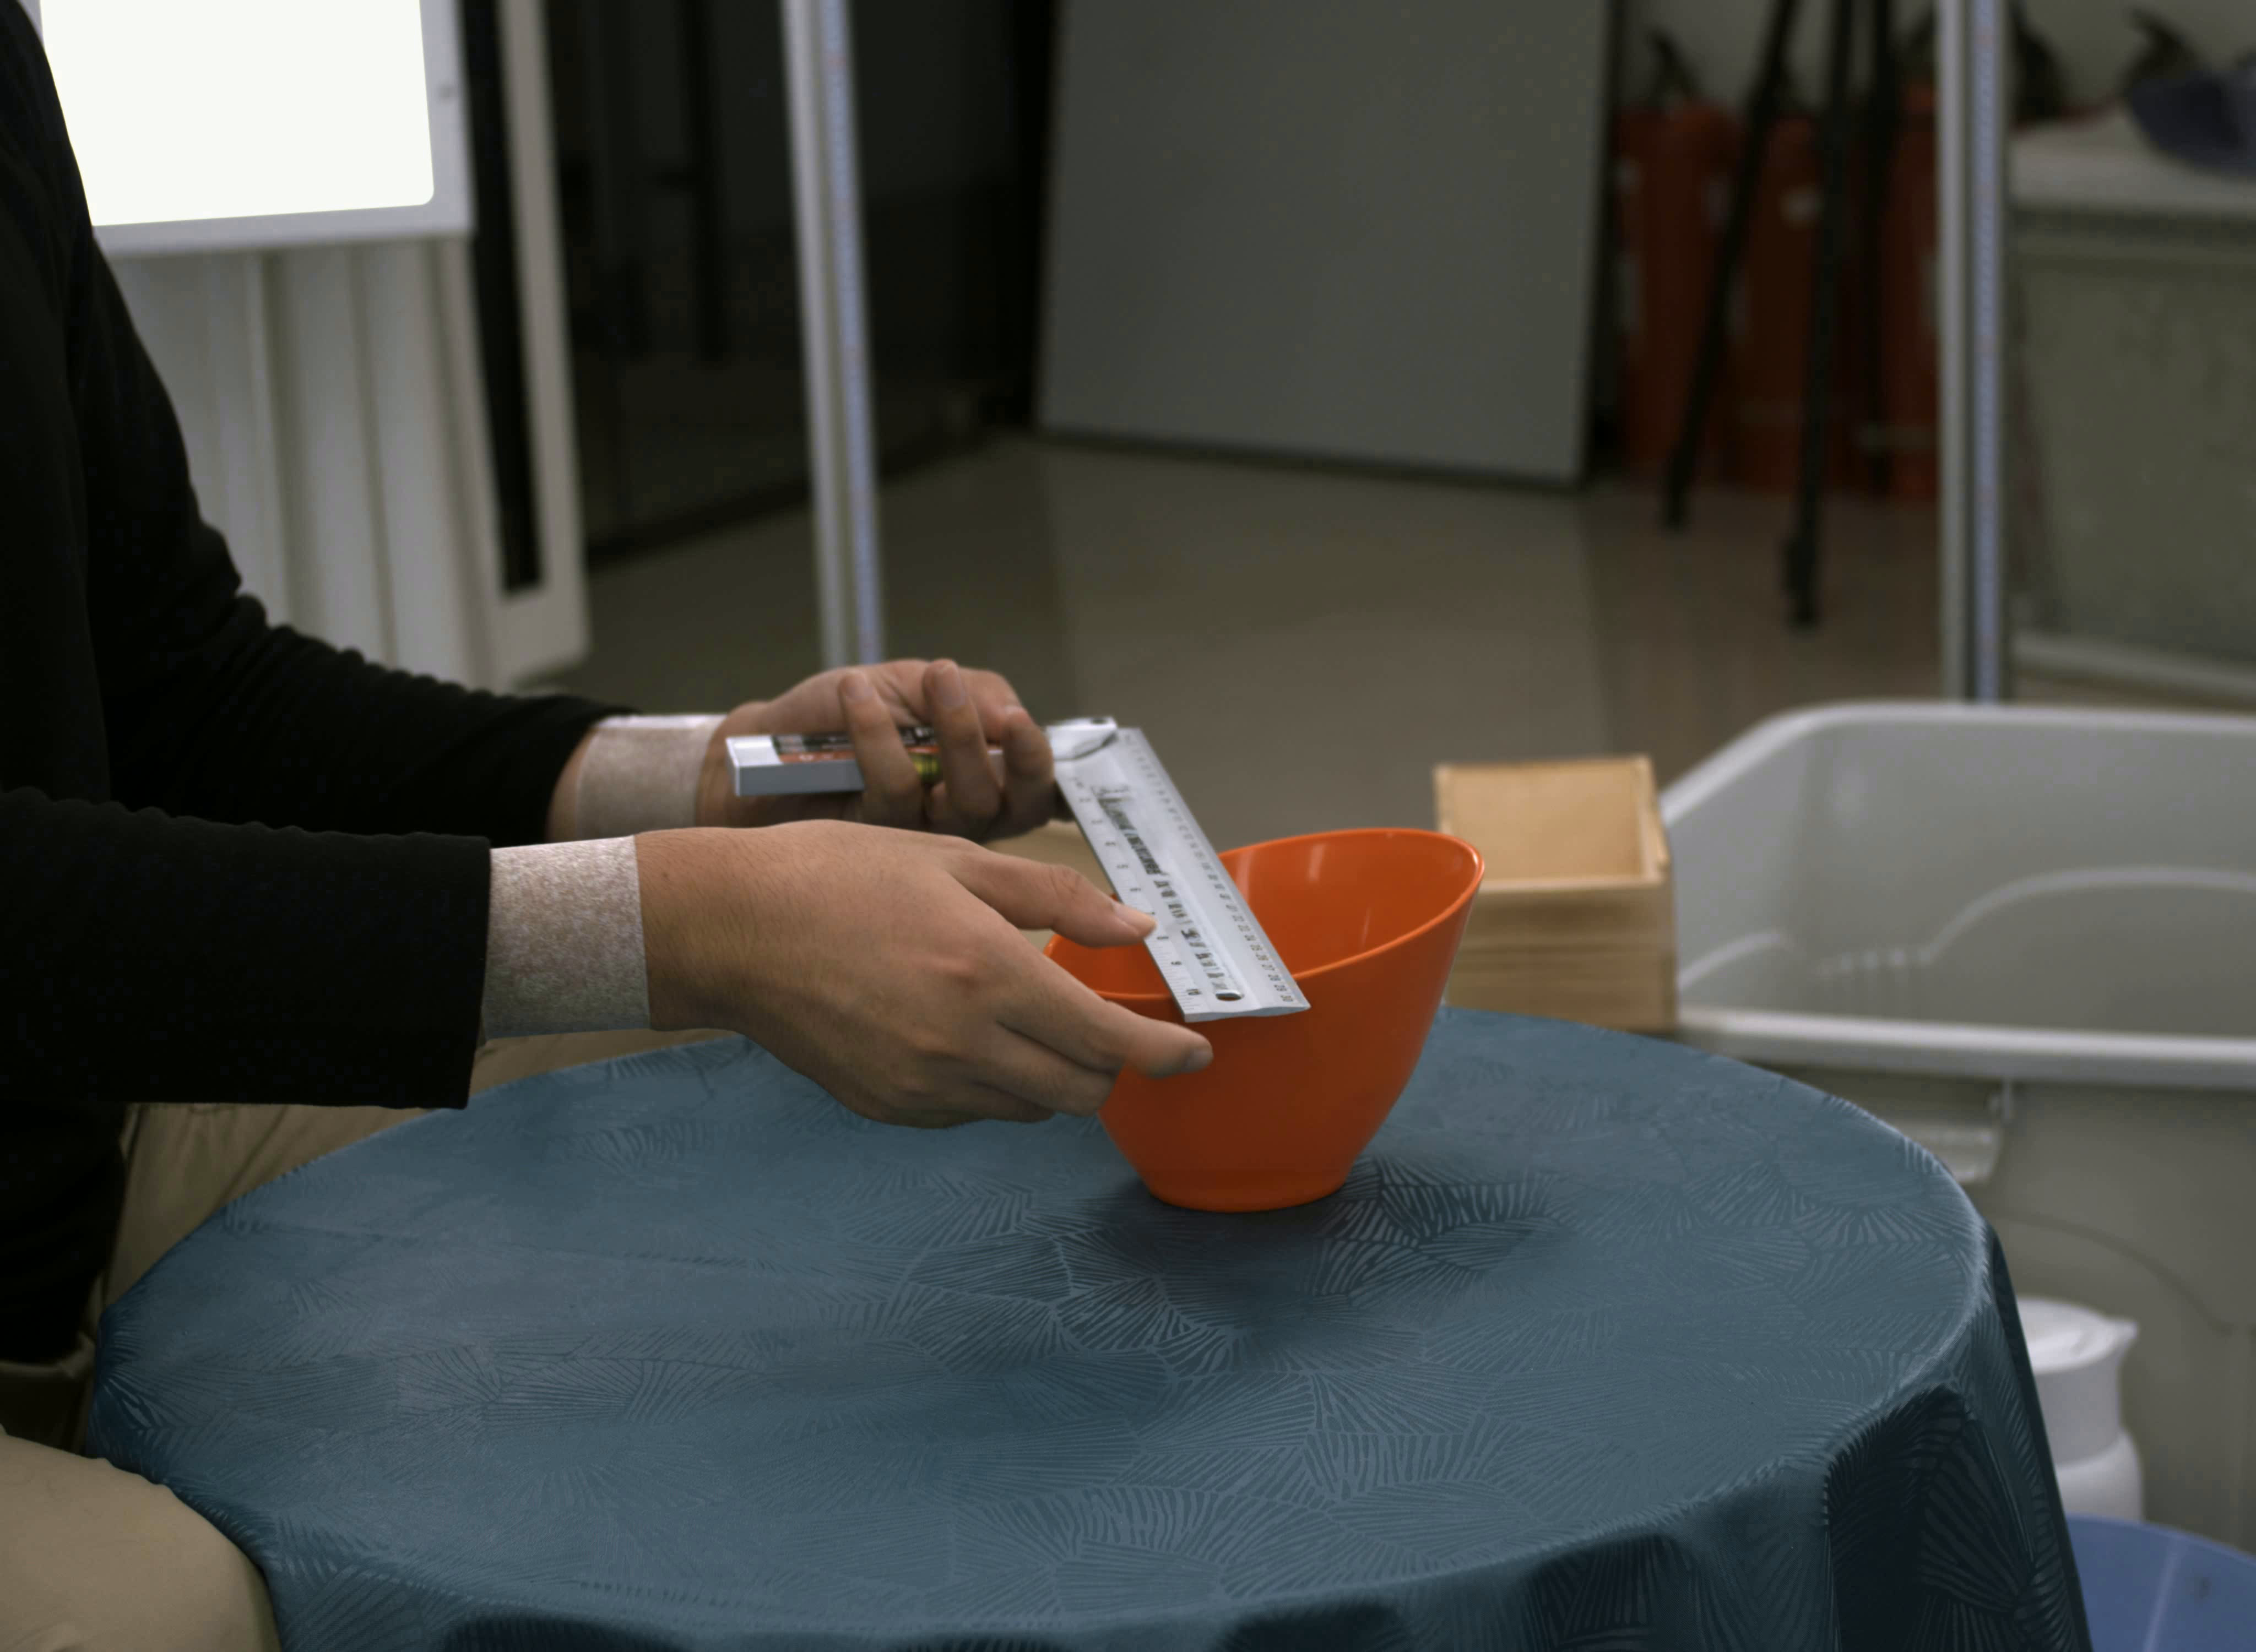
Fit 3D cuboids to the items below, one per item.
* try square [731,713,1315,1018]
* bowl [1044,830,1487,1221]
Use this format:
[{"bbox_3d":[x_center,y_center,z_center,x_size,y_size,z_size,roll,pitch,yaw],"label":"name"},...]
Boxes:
[{"bbox_3d":[-0.042,0.016,1.791,0.150,0.016,0.315,-7,18,-8],"label":"try square"},{"bbox_3d":[0.048,0.068,1.761,0.146,0.106,0.148,-5,15,0],"label":"bowl"}]
